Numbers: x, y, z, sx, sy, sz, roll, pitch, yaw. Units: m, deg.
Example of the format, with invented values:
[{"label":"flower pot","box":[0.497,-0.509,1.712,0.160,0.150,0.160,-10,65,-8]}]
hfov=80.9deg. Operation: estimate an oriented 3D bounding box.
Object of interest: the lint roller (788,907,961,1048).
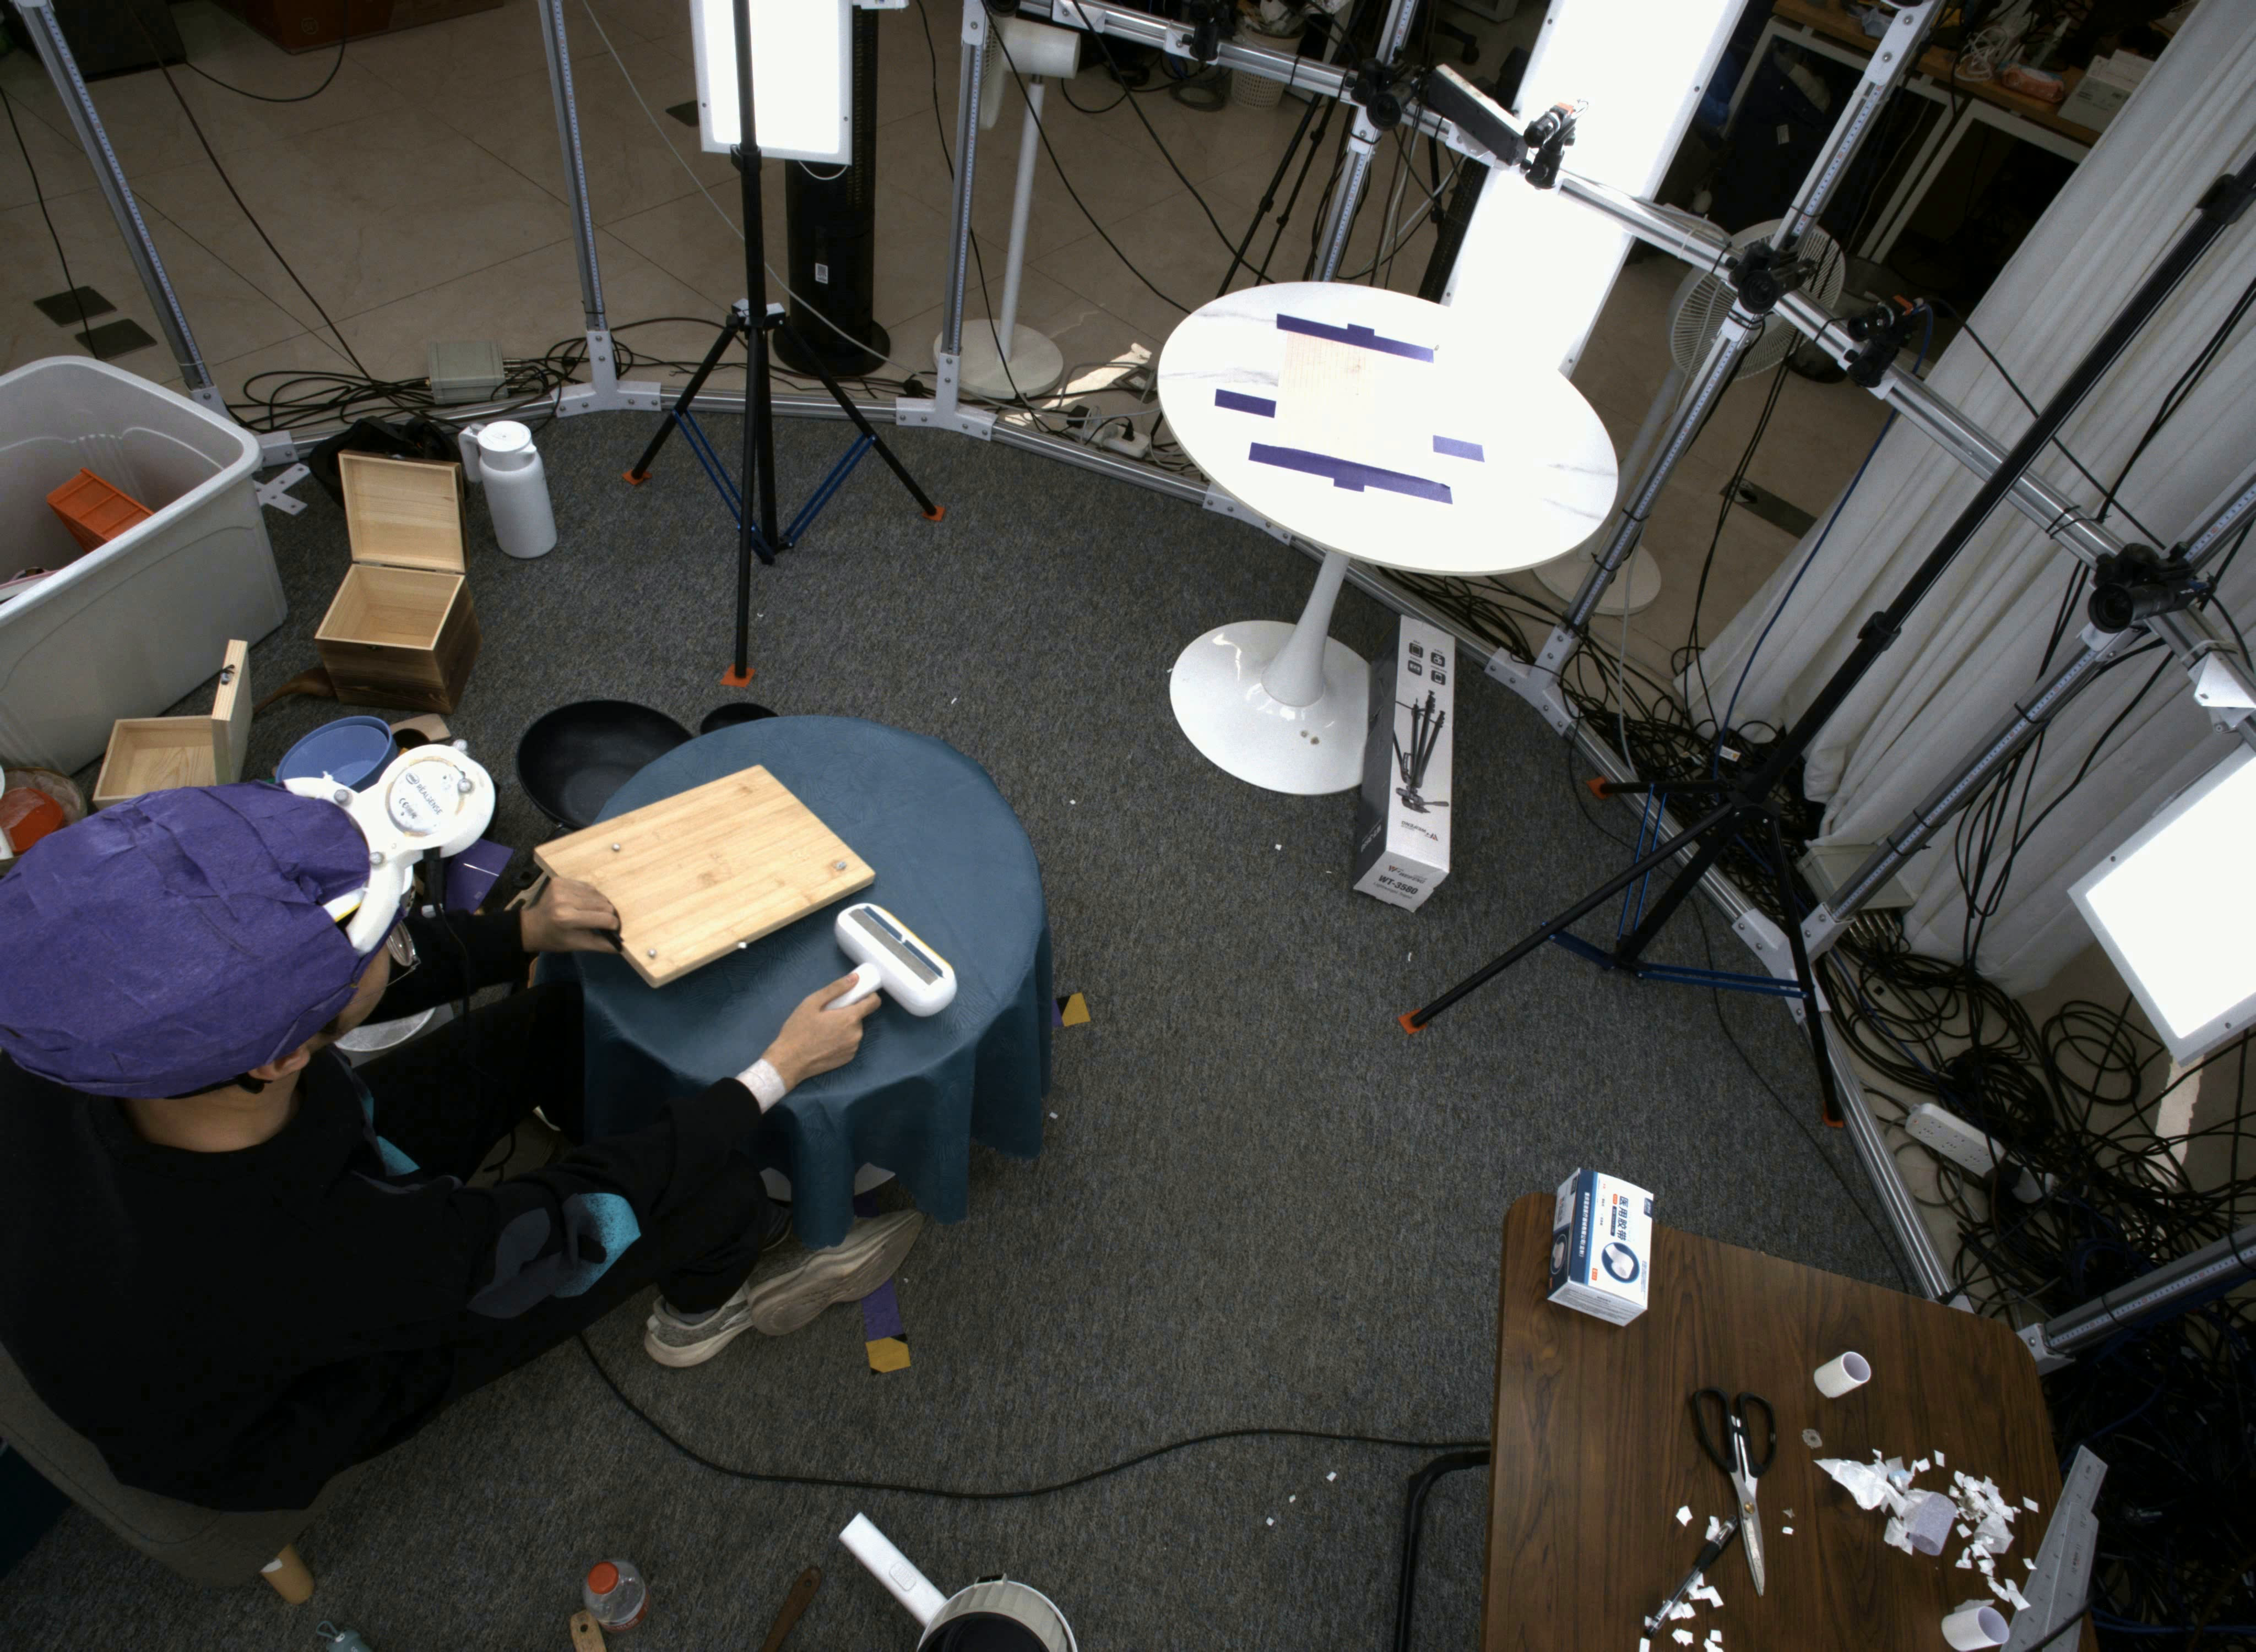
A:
[{"label":"lint roller","box":[-0.323,0.194,1.562,0.193,0.076,0.186,-28,55,-30]}]

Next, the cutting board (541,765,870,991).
[{"label":"cutting board","box":[-0.522,0.050,1.593,0.245,0.024,0.351,41,38,16]}]
